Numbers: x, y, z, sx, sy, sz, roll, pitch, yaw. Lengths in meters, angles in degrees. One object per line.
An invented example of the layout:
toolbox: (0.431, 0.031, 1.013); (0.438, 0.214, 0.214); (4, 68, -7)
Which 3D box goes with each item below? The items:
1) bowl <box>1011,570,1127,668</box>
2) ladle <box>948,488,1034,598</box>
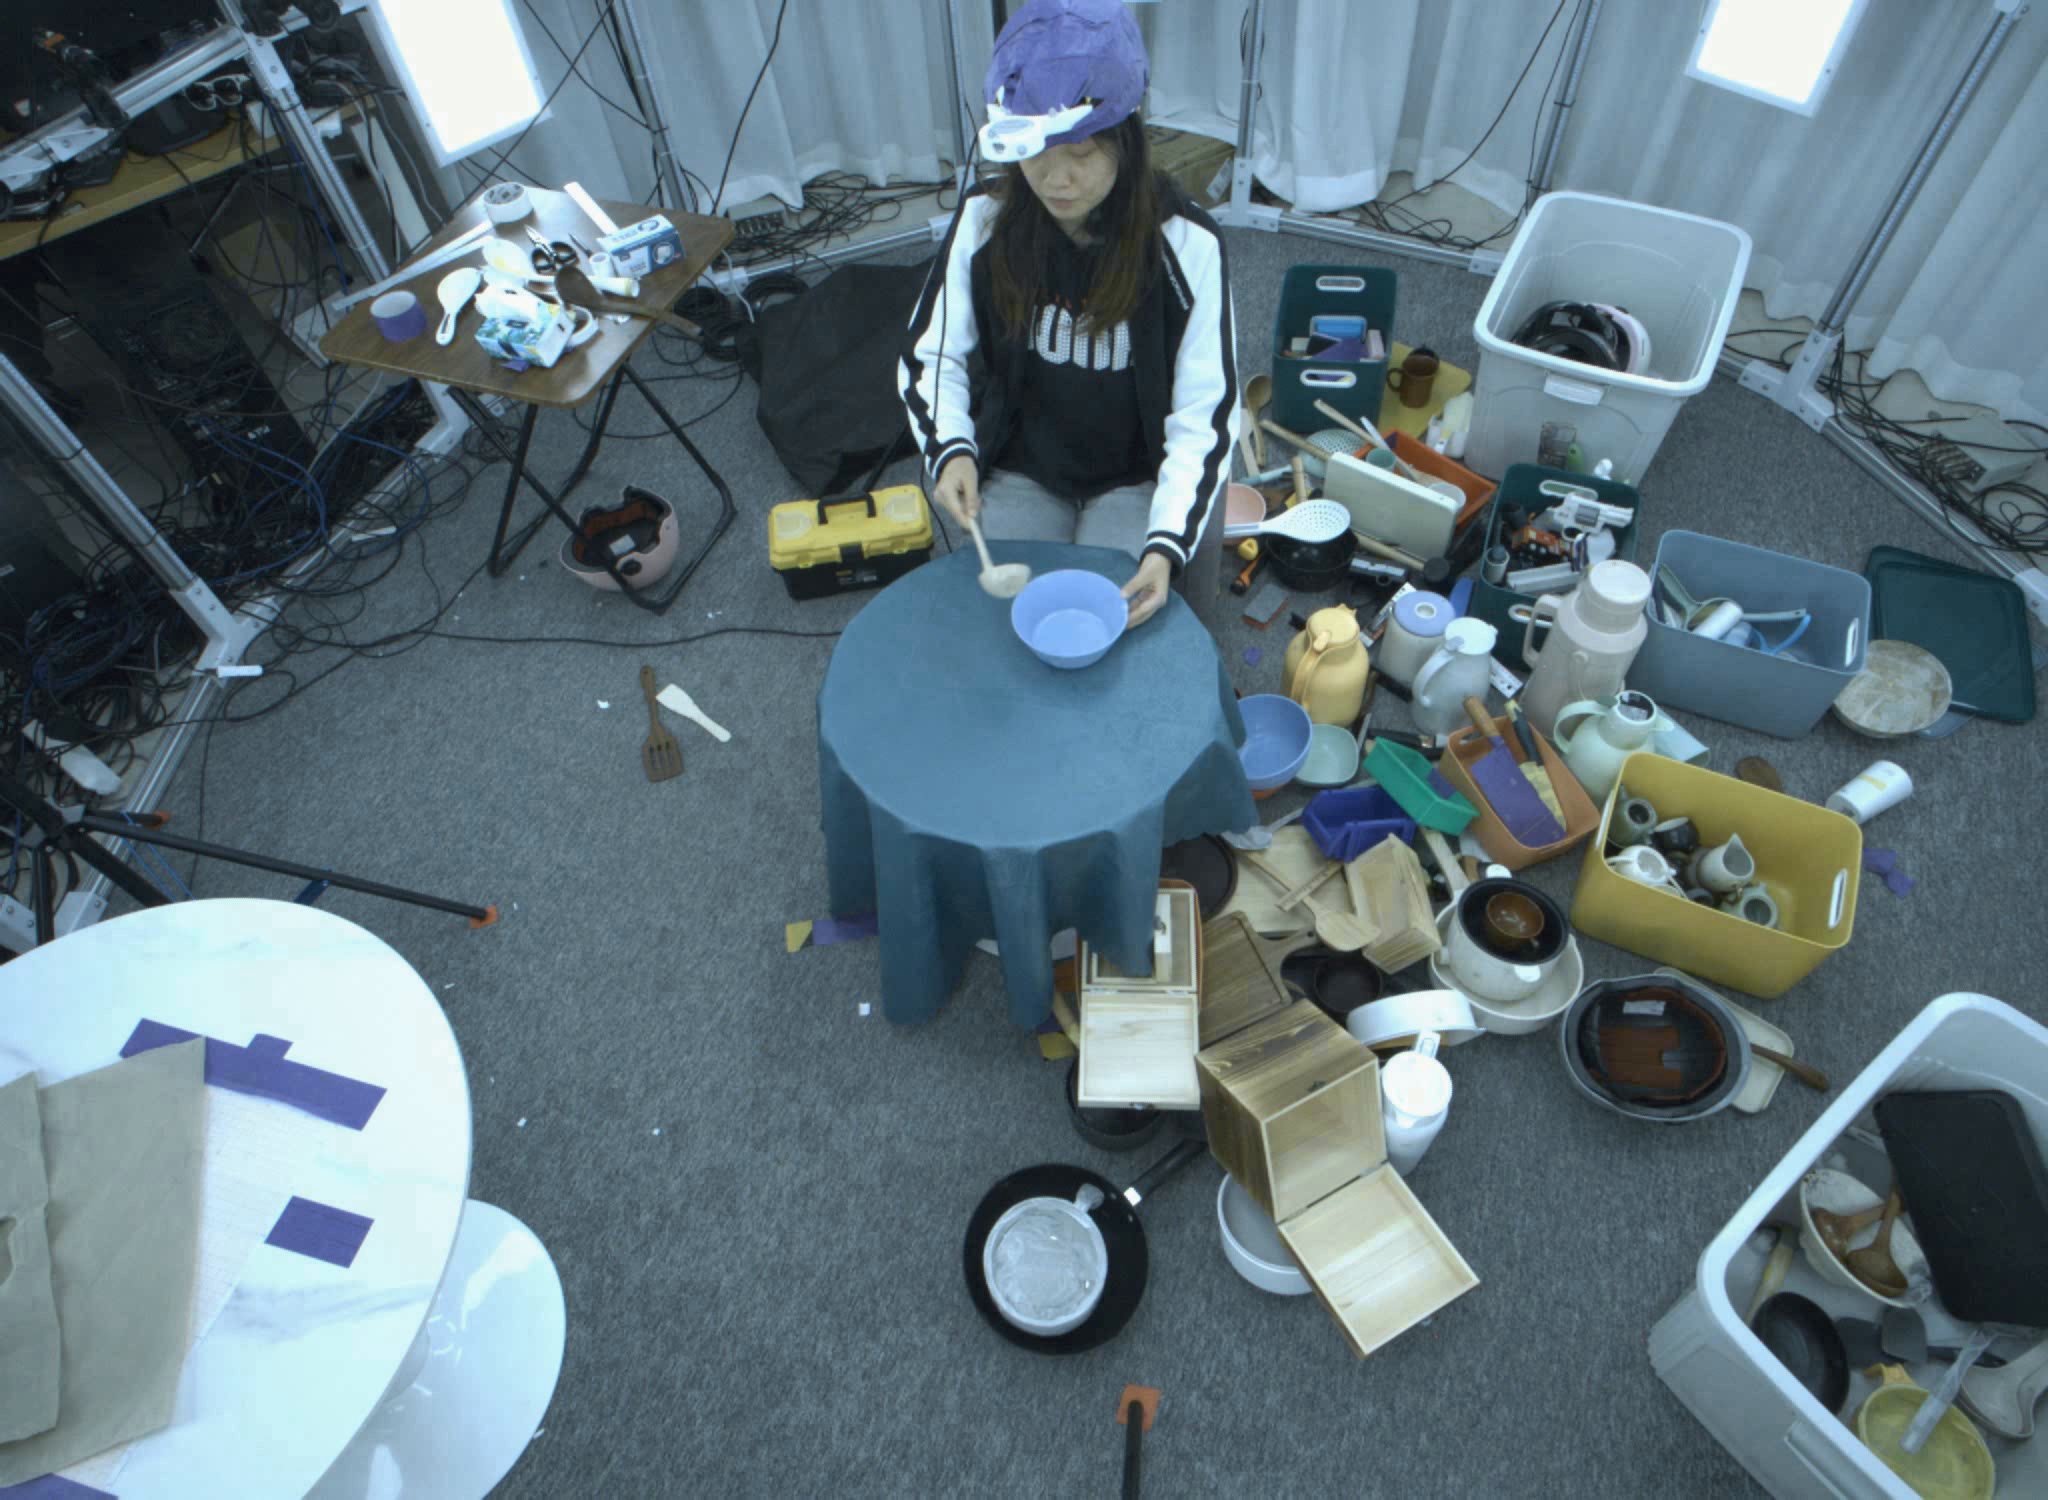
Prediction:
bowl: (0.068, -0.191, 1.877); (0.176, 0.071, 0.174); (0, 55, 1)
ladle: (-0.057, -0.325, 1.786); (0.073, 0.073, 0.250); (-9, 57, -27)
